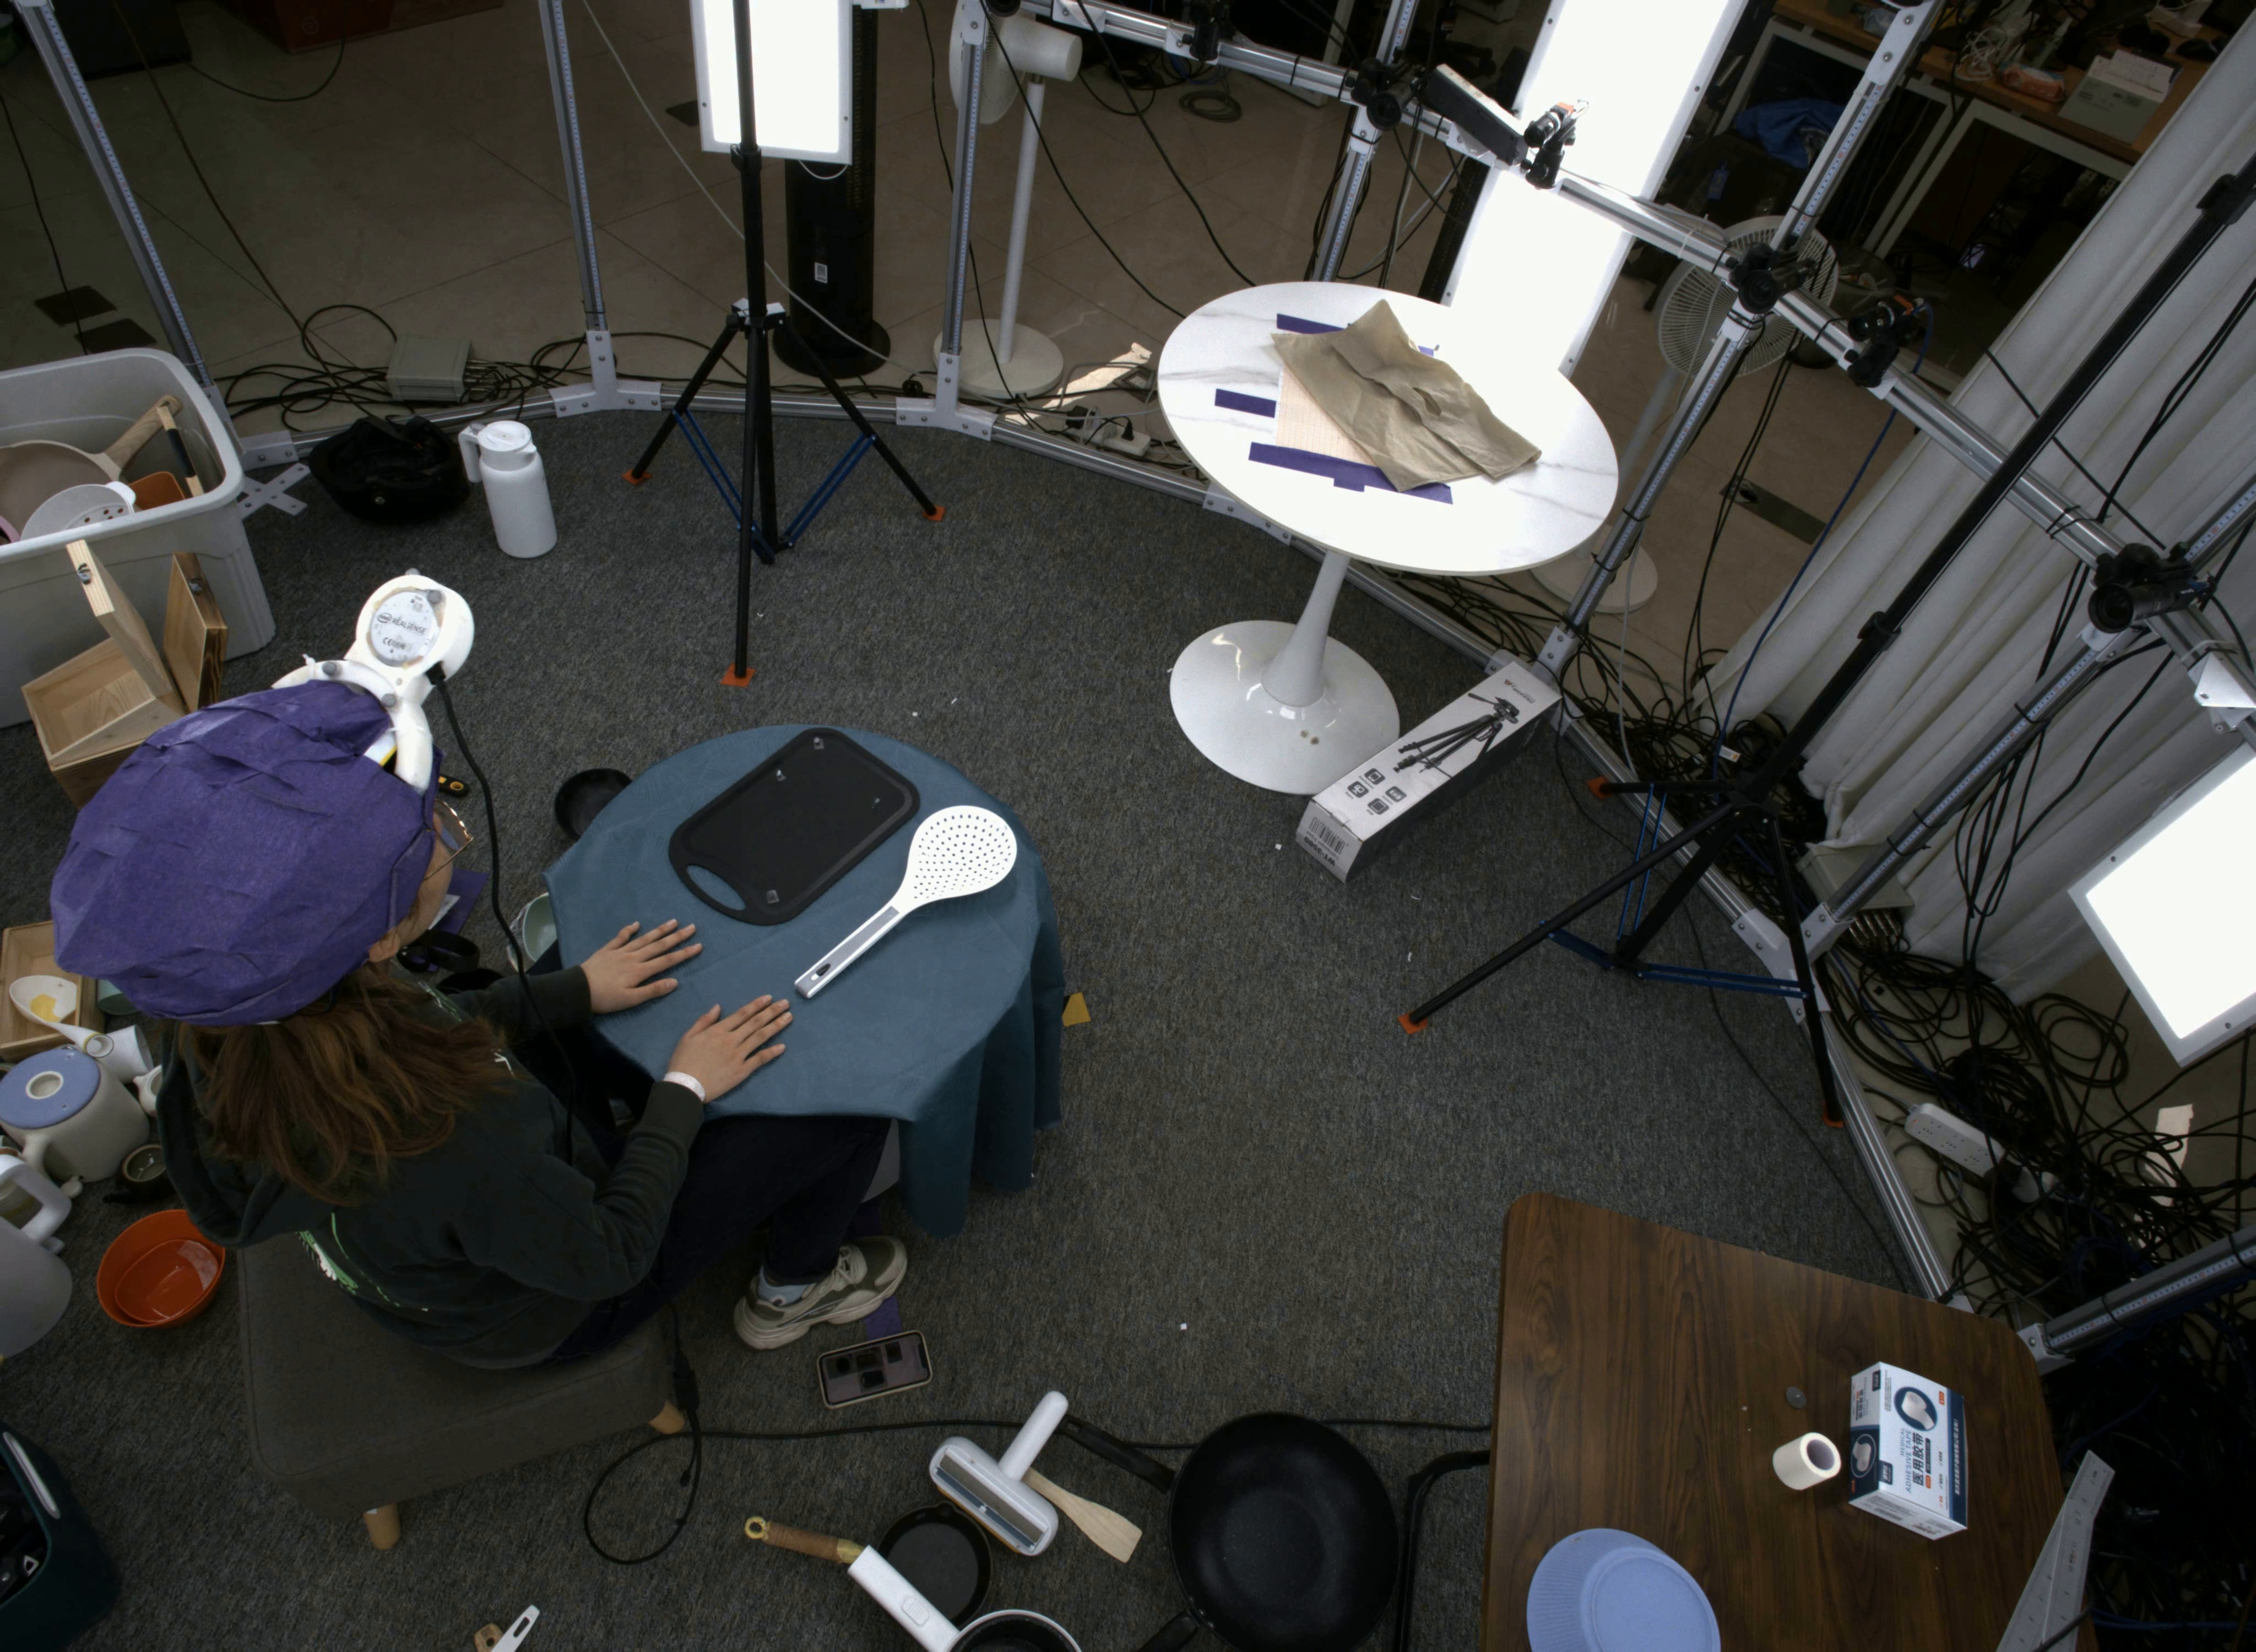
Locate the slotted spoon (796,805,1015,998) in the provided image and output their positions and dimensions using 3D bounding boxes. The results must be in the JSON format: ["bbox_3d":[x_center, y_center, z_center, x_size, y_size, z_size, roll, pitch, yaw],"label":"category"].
[{"bbox_3d":[-0.285,0.096,1.664,0.133,0.047,0.350,37,55,17],"label":"slotted spoon"}]

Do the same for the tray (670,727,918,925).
[{"bbox_3d":[-0.445,-0.004,1.722,0.207,0.010,0.325,35,54,13],"label":"tray"}]
